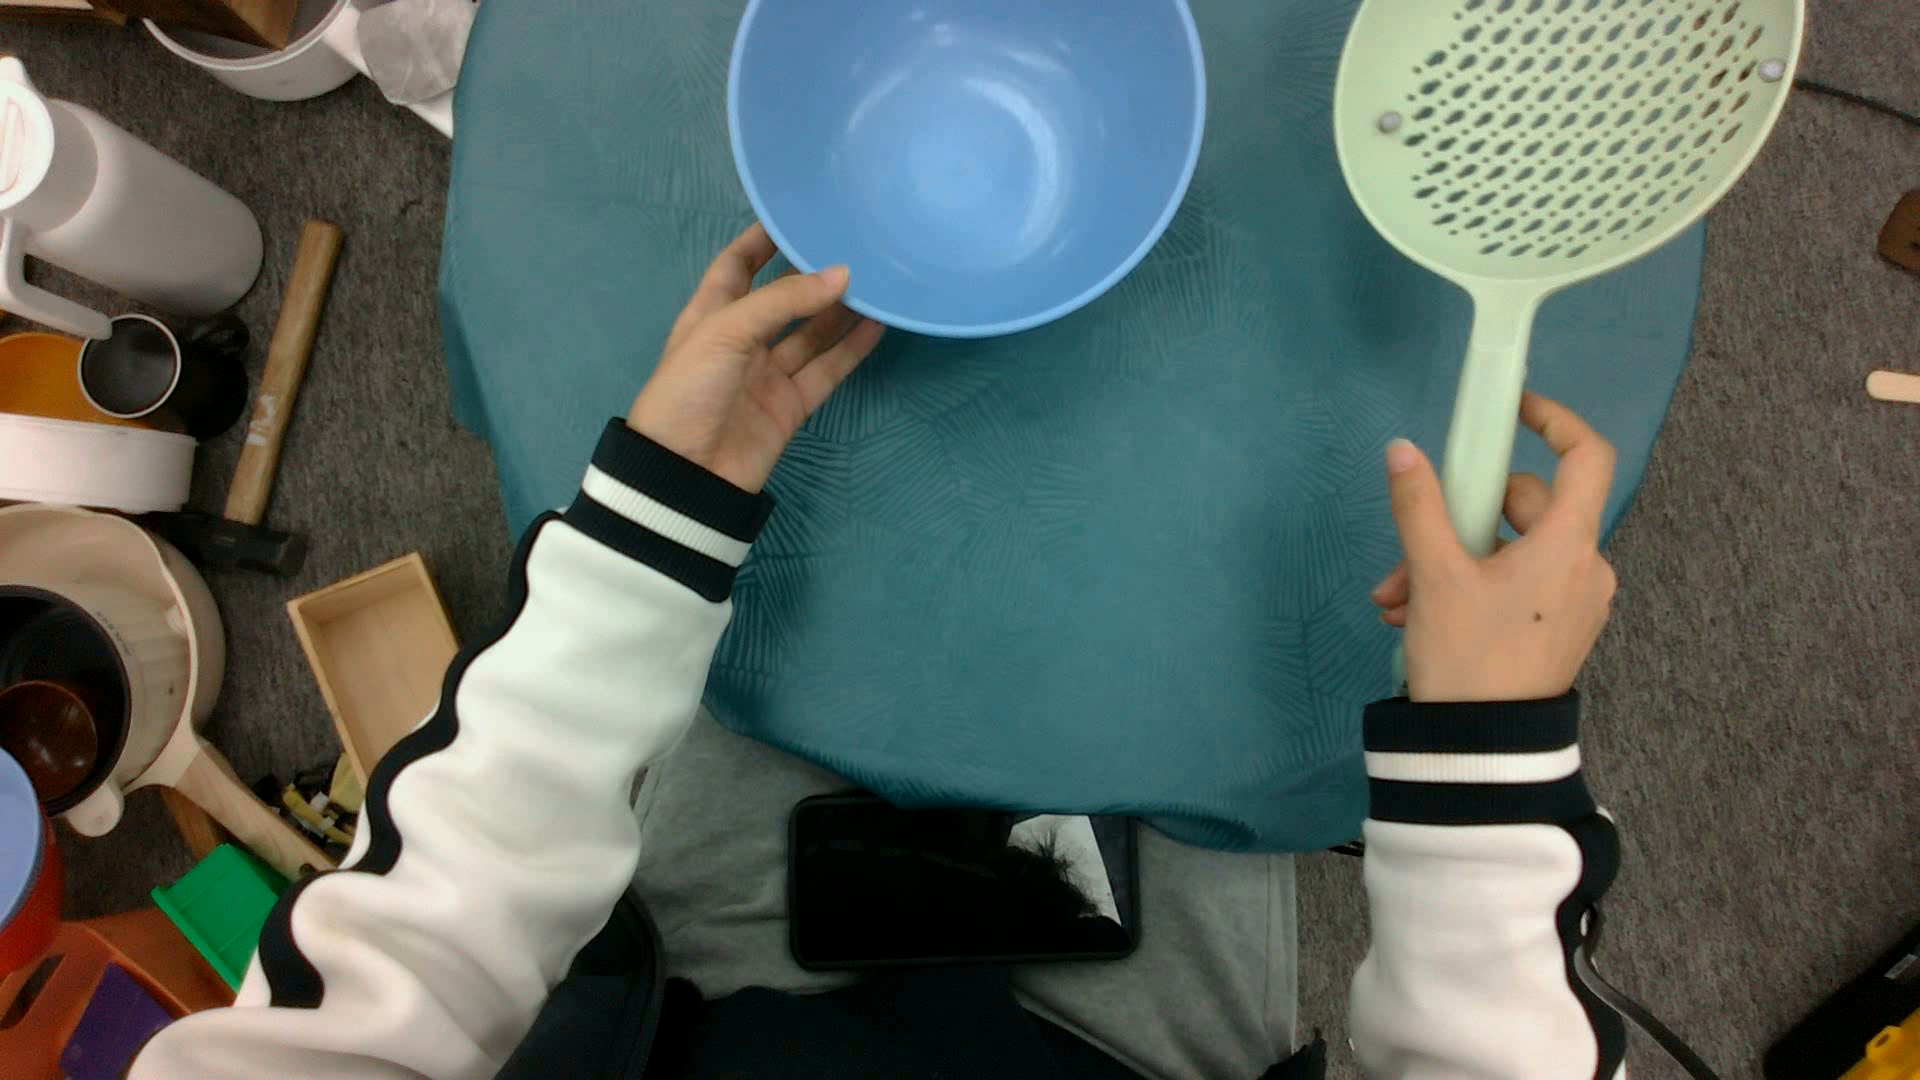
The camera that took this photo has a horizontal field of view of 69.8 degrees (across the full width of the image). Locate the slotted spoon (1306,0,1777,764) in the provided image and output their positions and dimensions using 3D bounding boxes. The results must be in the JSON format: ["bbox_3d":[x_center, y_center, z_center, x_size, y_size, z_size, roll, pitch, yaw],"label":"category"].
[{"bbox_3d":[0.205,-0.090,0.540,0.169,0.075,0.359,11,84,33],"label":"slotted spoon"}]

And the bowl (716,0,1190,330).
[{"bbox_3d":[-0.003,-0.181,0.614,0.196,0.095,0.196,0,85,-1],"label":"bowl"}]
